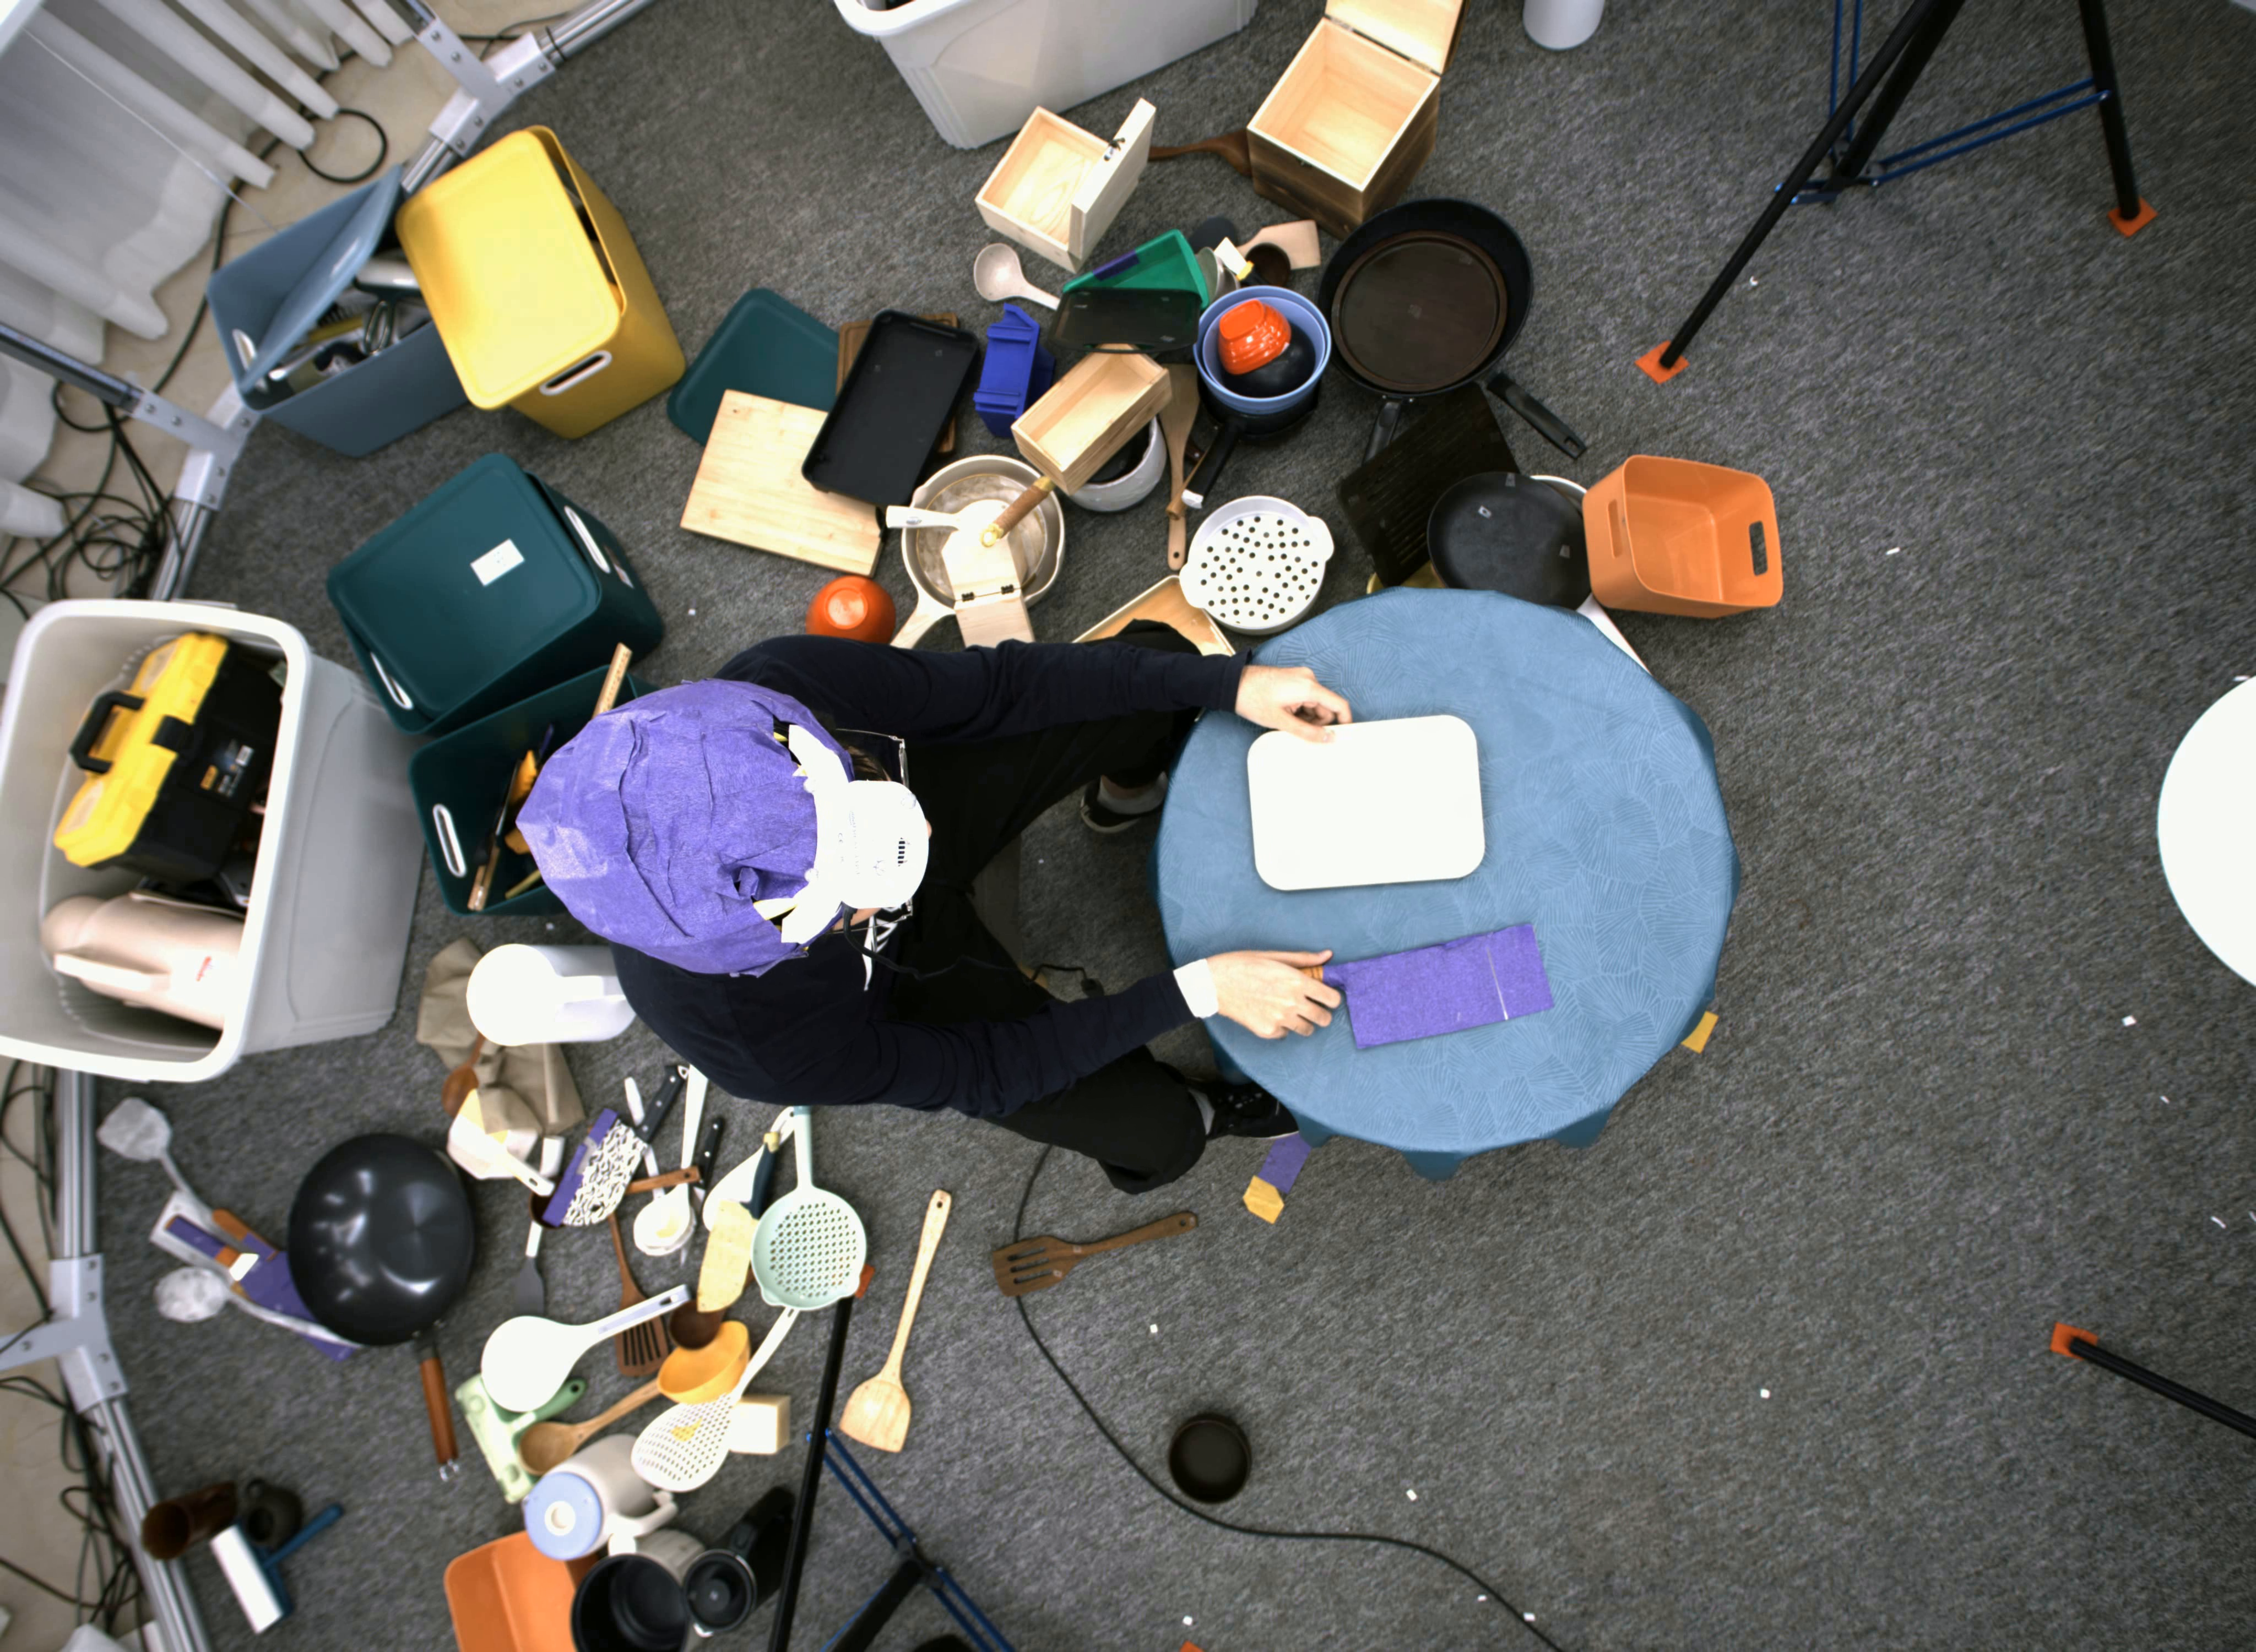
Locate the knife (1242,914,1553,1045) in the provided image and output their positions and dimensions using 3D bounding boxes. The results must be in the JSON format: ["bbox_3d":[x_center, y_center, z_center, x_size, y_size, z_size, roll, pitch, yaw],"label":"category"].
[{"bbox_3d":[0.280,0.173,1.439,0.317,0.032,0.103,-14,84,9],"label":"knife"}]

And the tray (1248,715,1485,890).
[{"bbox_3d":[0.250,-0.025,1.453,0.241,0.017,0.171,-5,93,10],"label":"tray"}]
